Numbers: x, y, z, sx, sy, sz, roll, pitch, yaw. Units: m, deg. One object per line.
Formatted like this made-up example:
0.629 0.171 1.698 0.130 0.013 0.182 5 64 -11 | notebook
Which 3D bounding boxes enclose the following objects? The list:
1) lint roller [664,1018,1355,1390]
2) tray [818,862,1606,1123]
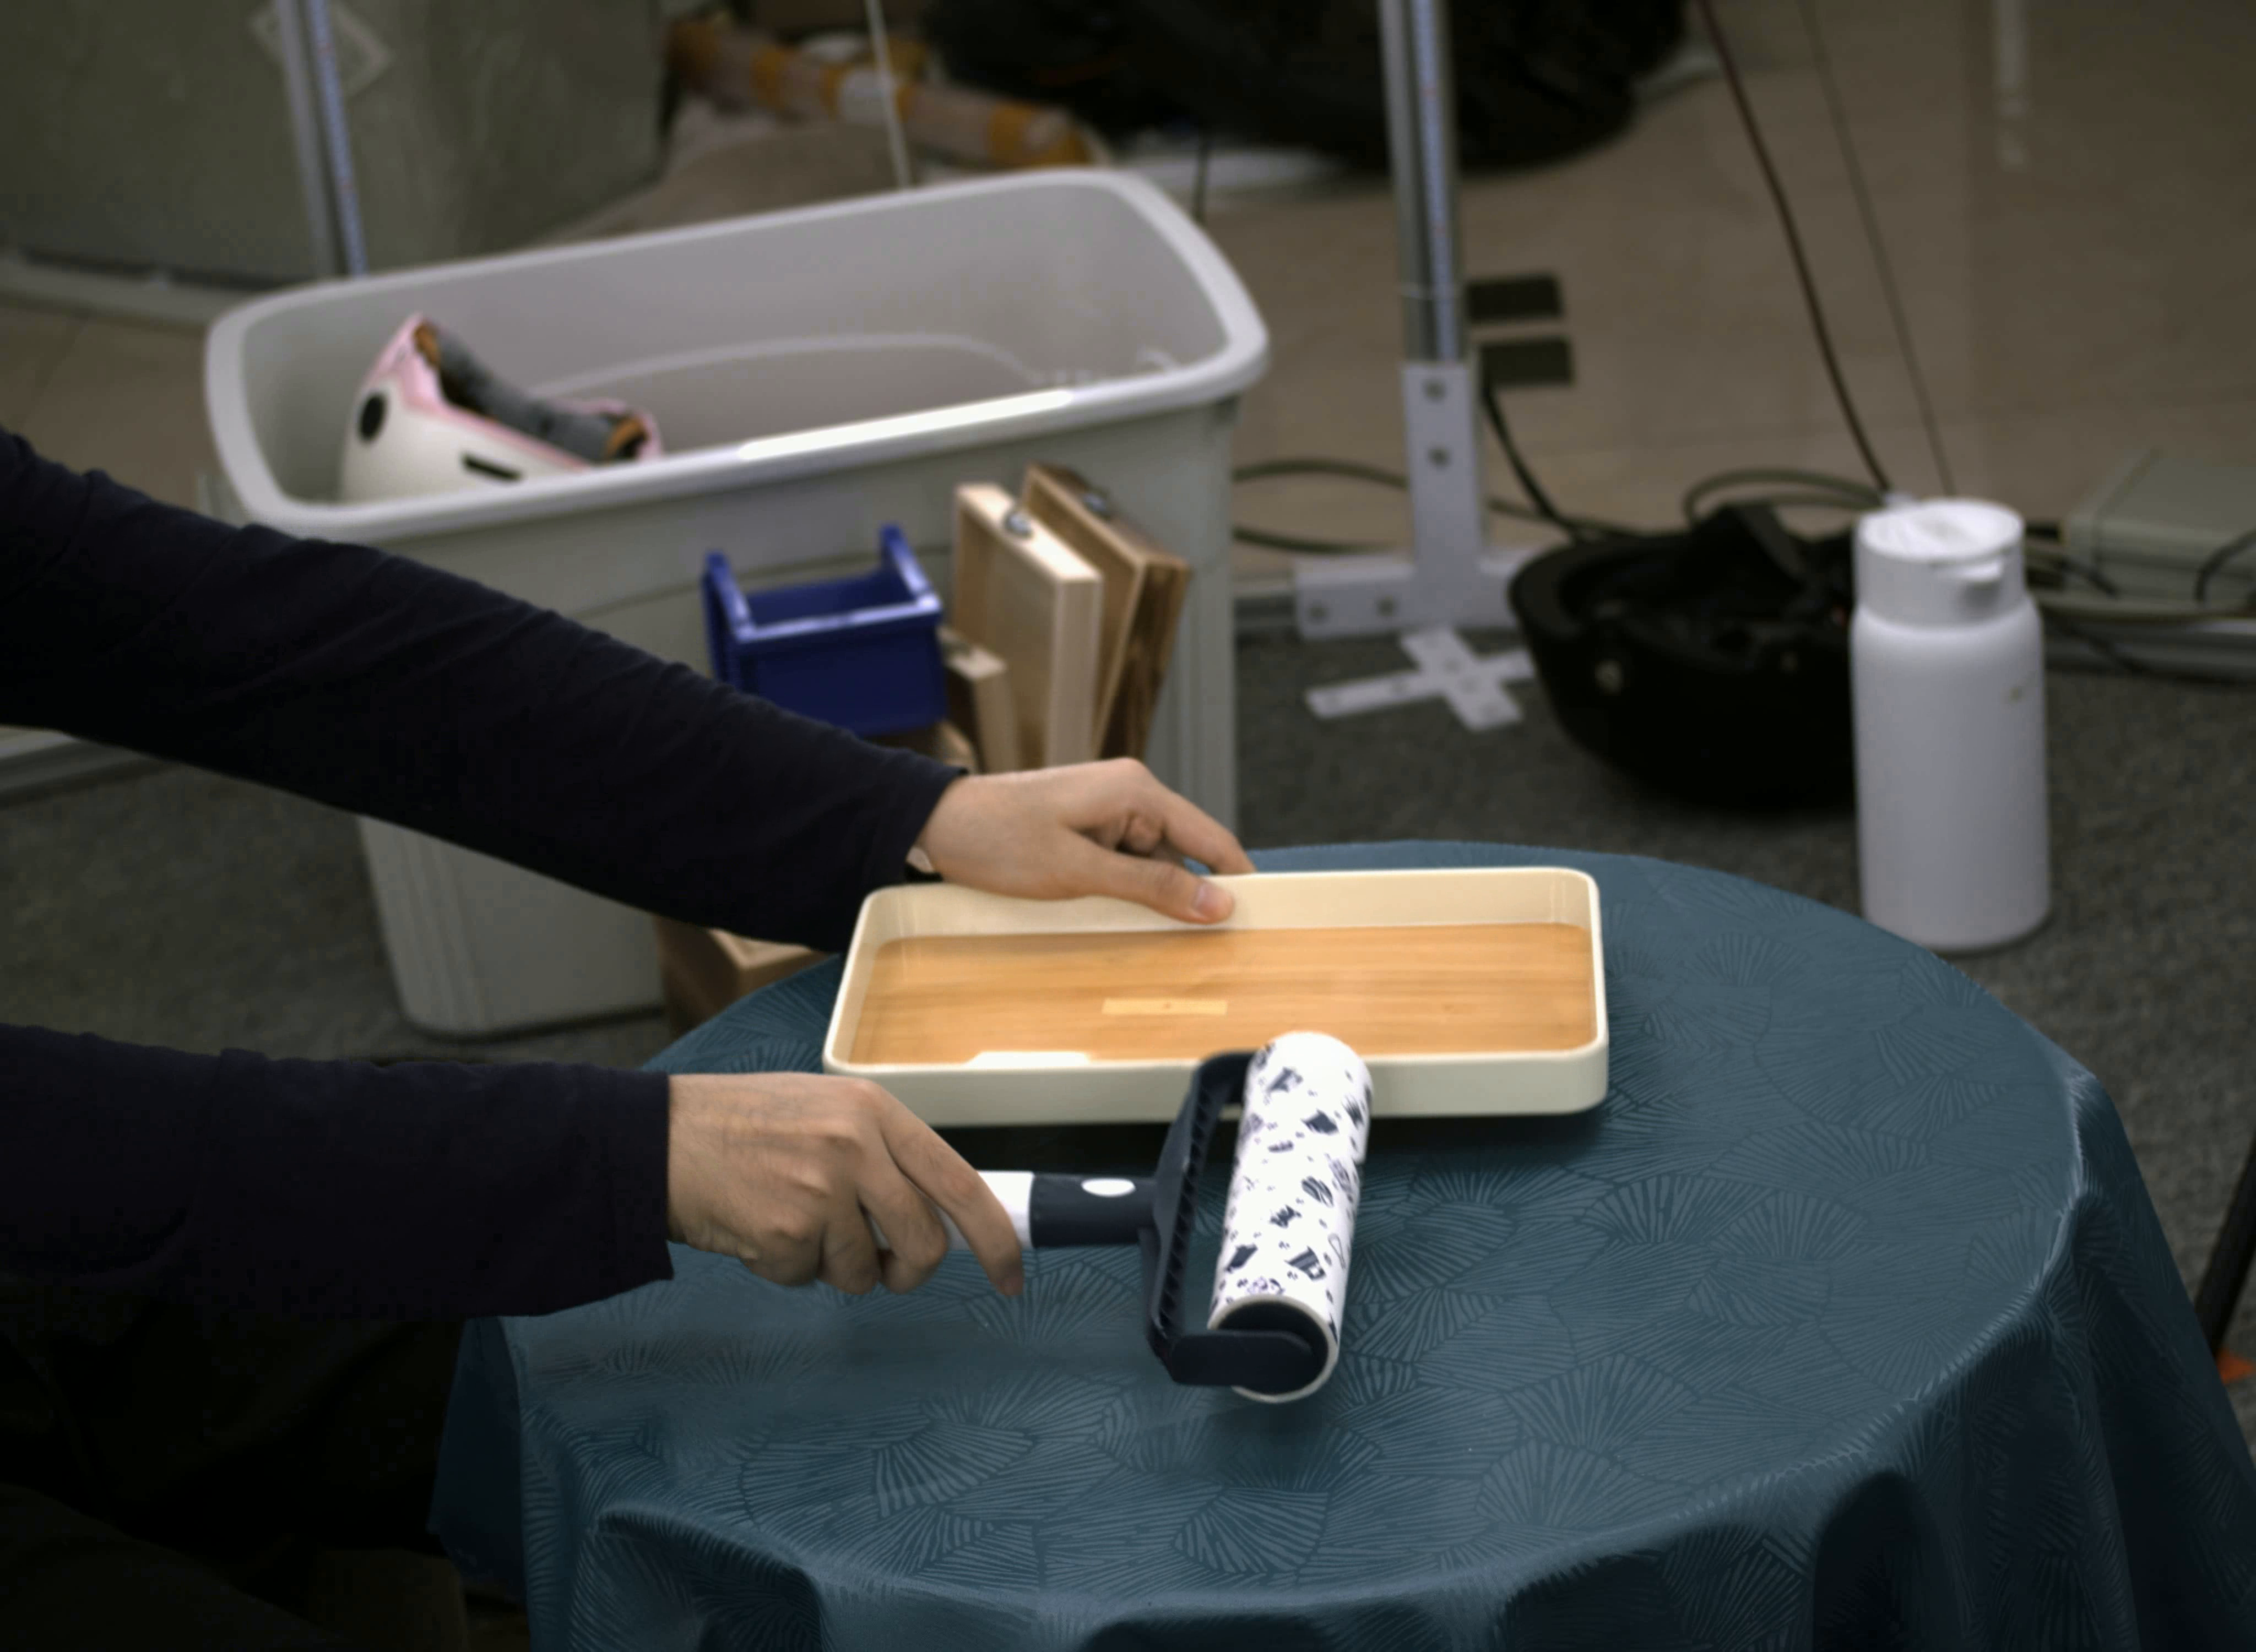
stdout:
-0.046 0.135 2.034 0.246 0.051 0.173 0 34 6 | lint roller
0.036 0.064 2.222 0.300 0.028 0.189 -1 23 4 | tray
